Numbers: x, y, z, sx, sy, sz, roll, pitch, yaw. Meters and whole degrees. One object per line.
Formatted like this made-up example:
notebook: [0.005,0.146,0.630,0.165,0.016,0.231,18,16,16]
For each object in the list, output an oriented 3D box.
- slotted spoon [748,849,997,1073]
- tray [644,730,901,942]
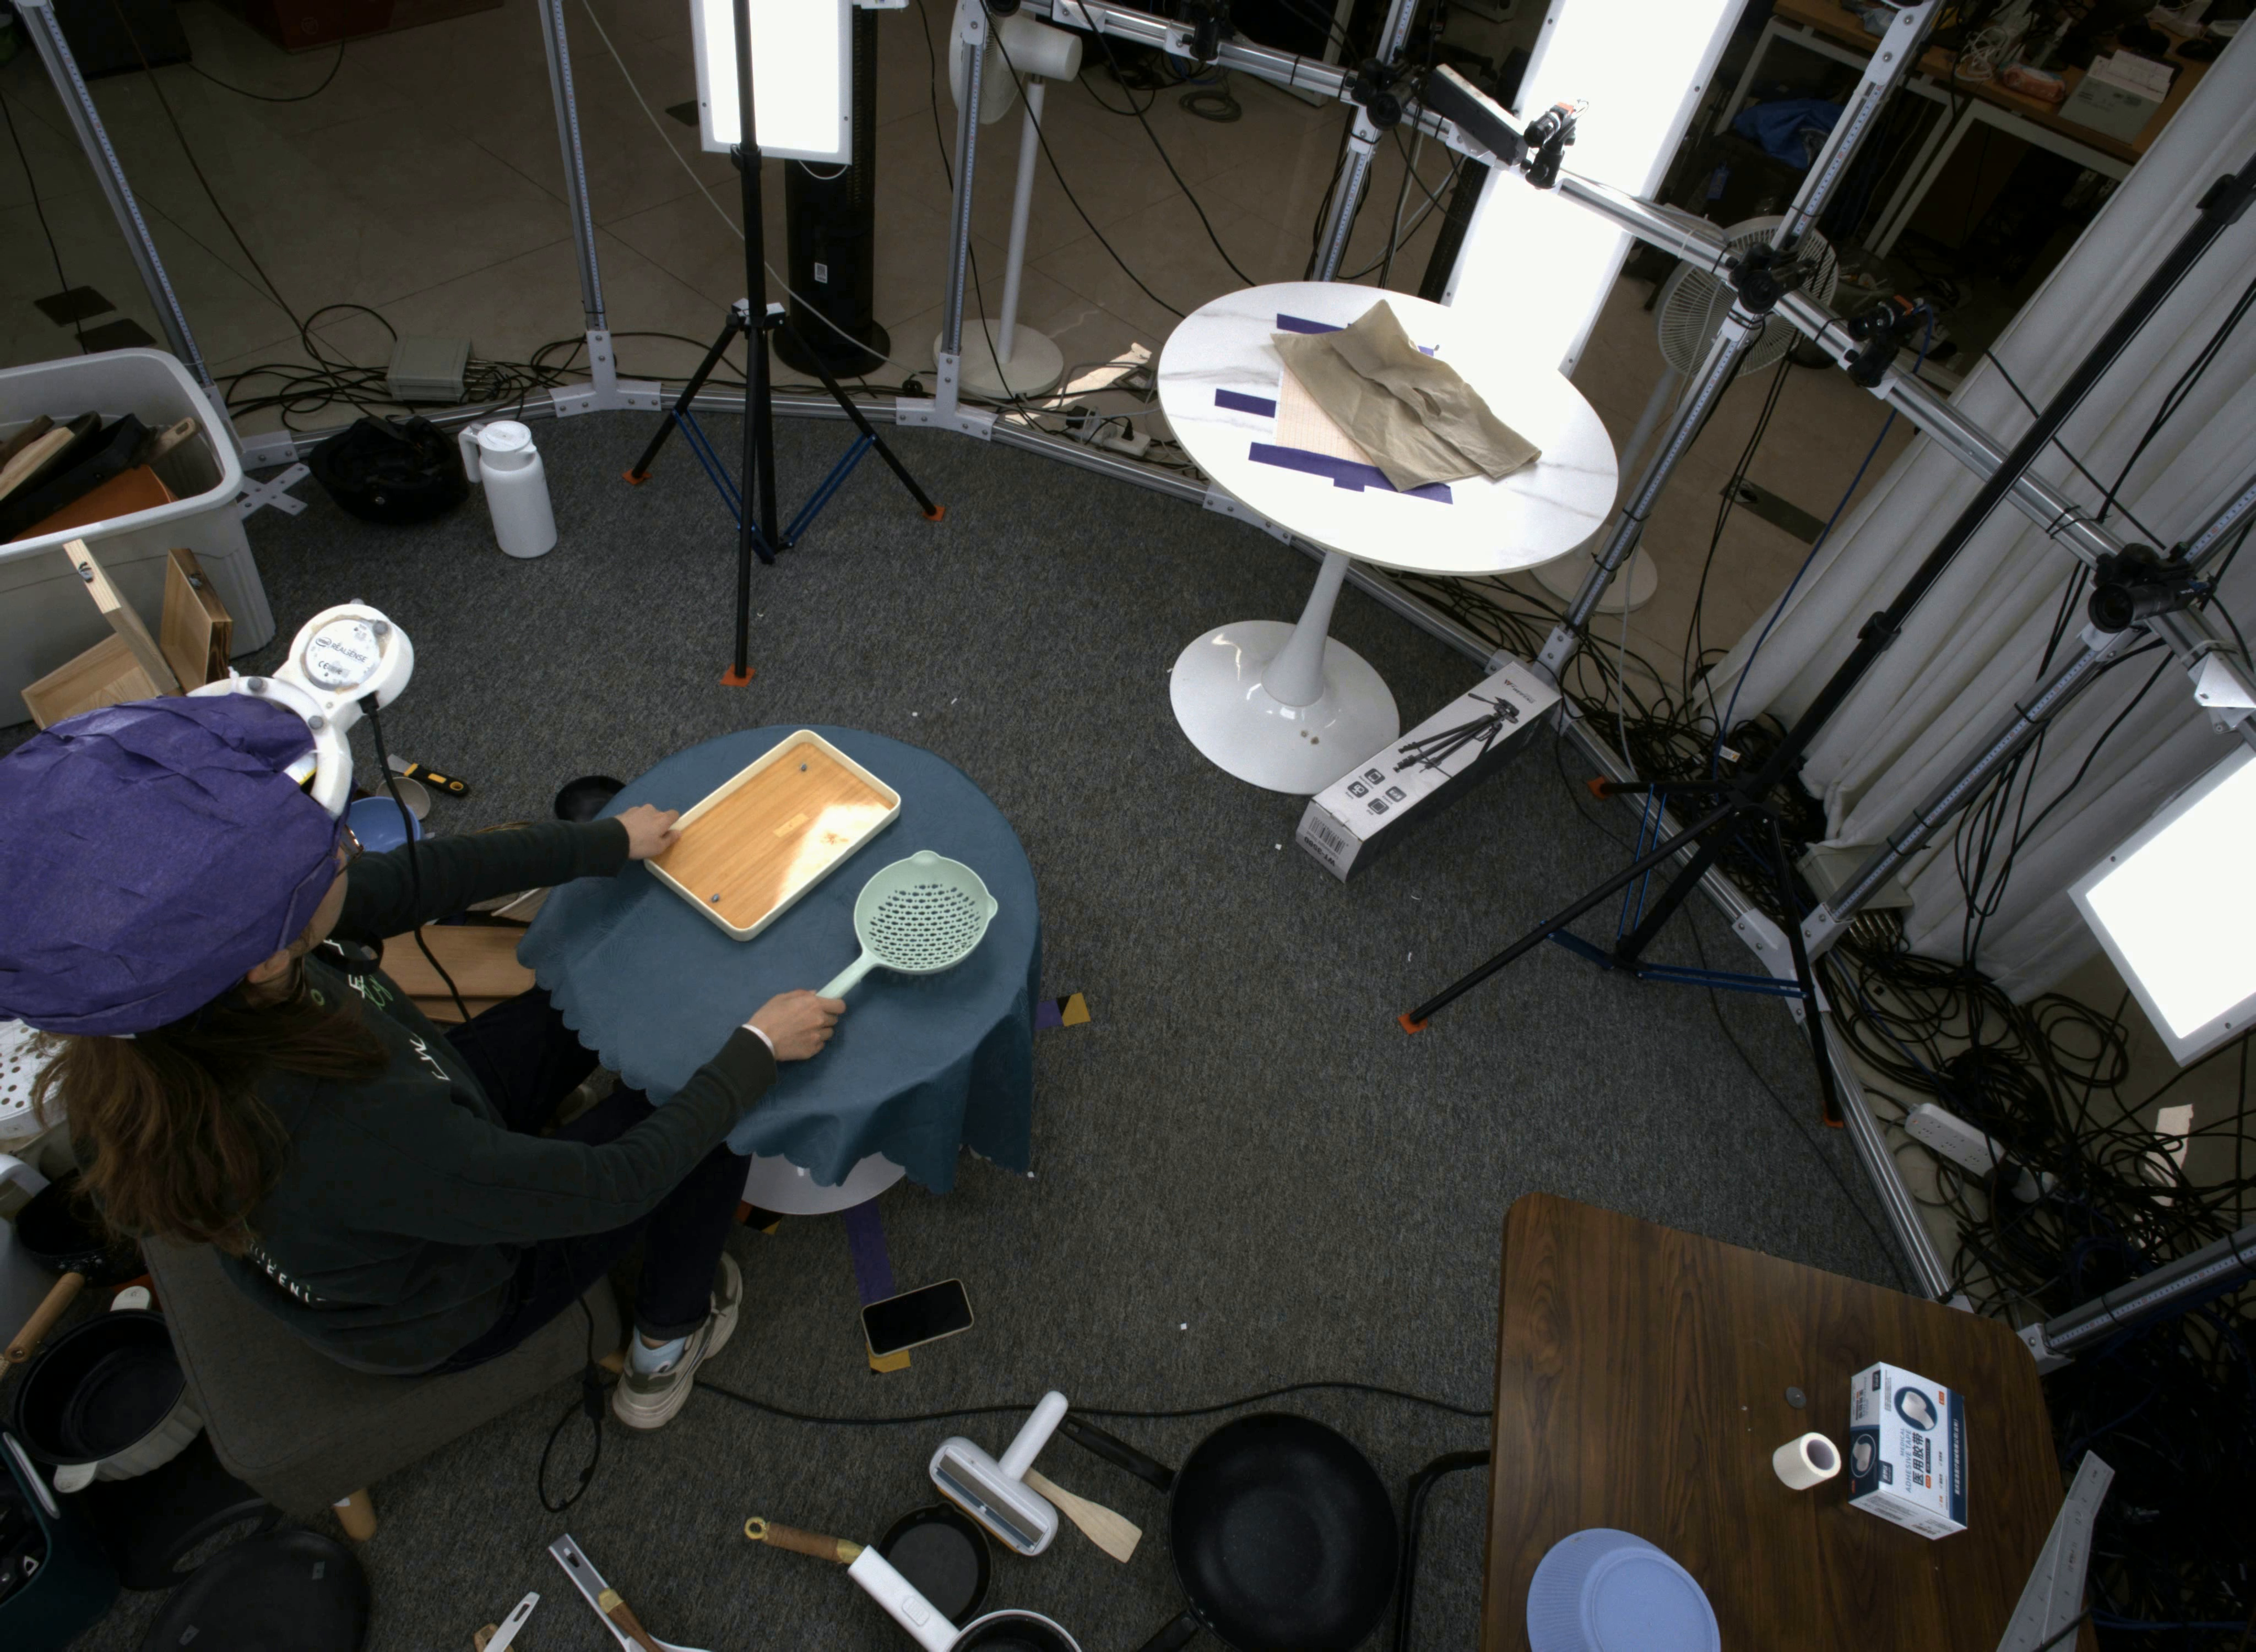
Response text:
slotted spoon: [-0.321,0.169,1.586,0.165,0.077,0.359,37,52,21]
tray: [-0.462,0.004,1.699,0.188,0.028,0.300,36,53,13]
